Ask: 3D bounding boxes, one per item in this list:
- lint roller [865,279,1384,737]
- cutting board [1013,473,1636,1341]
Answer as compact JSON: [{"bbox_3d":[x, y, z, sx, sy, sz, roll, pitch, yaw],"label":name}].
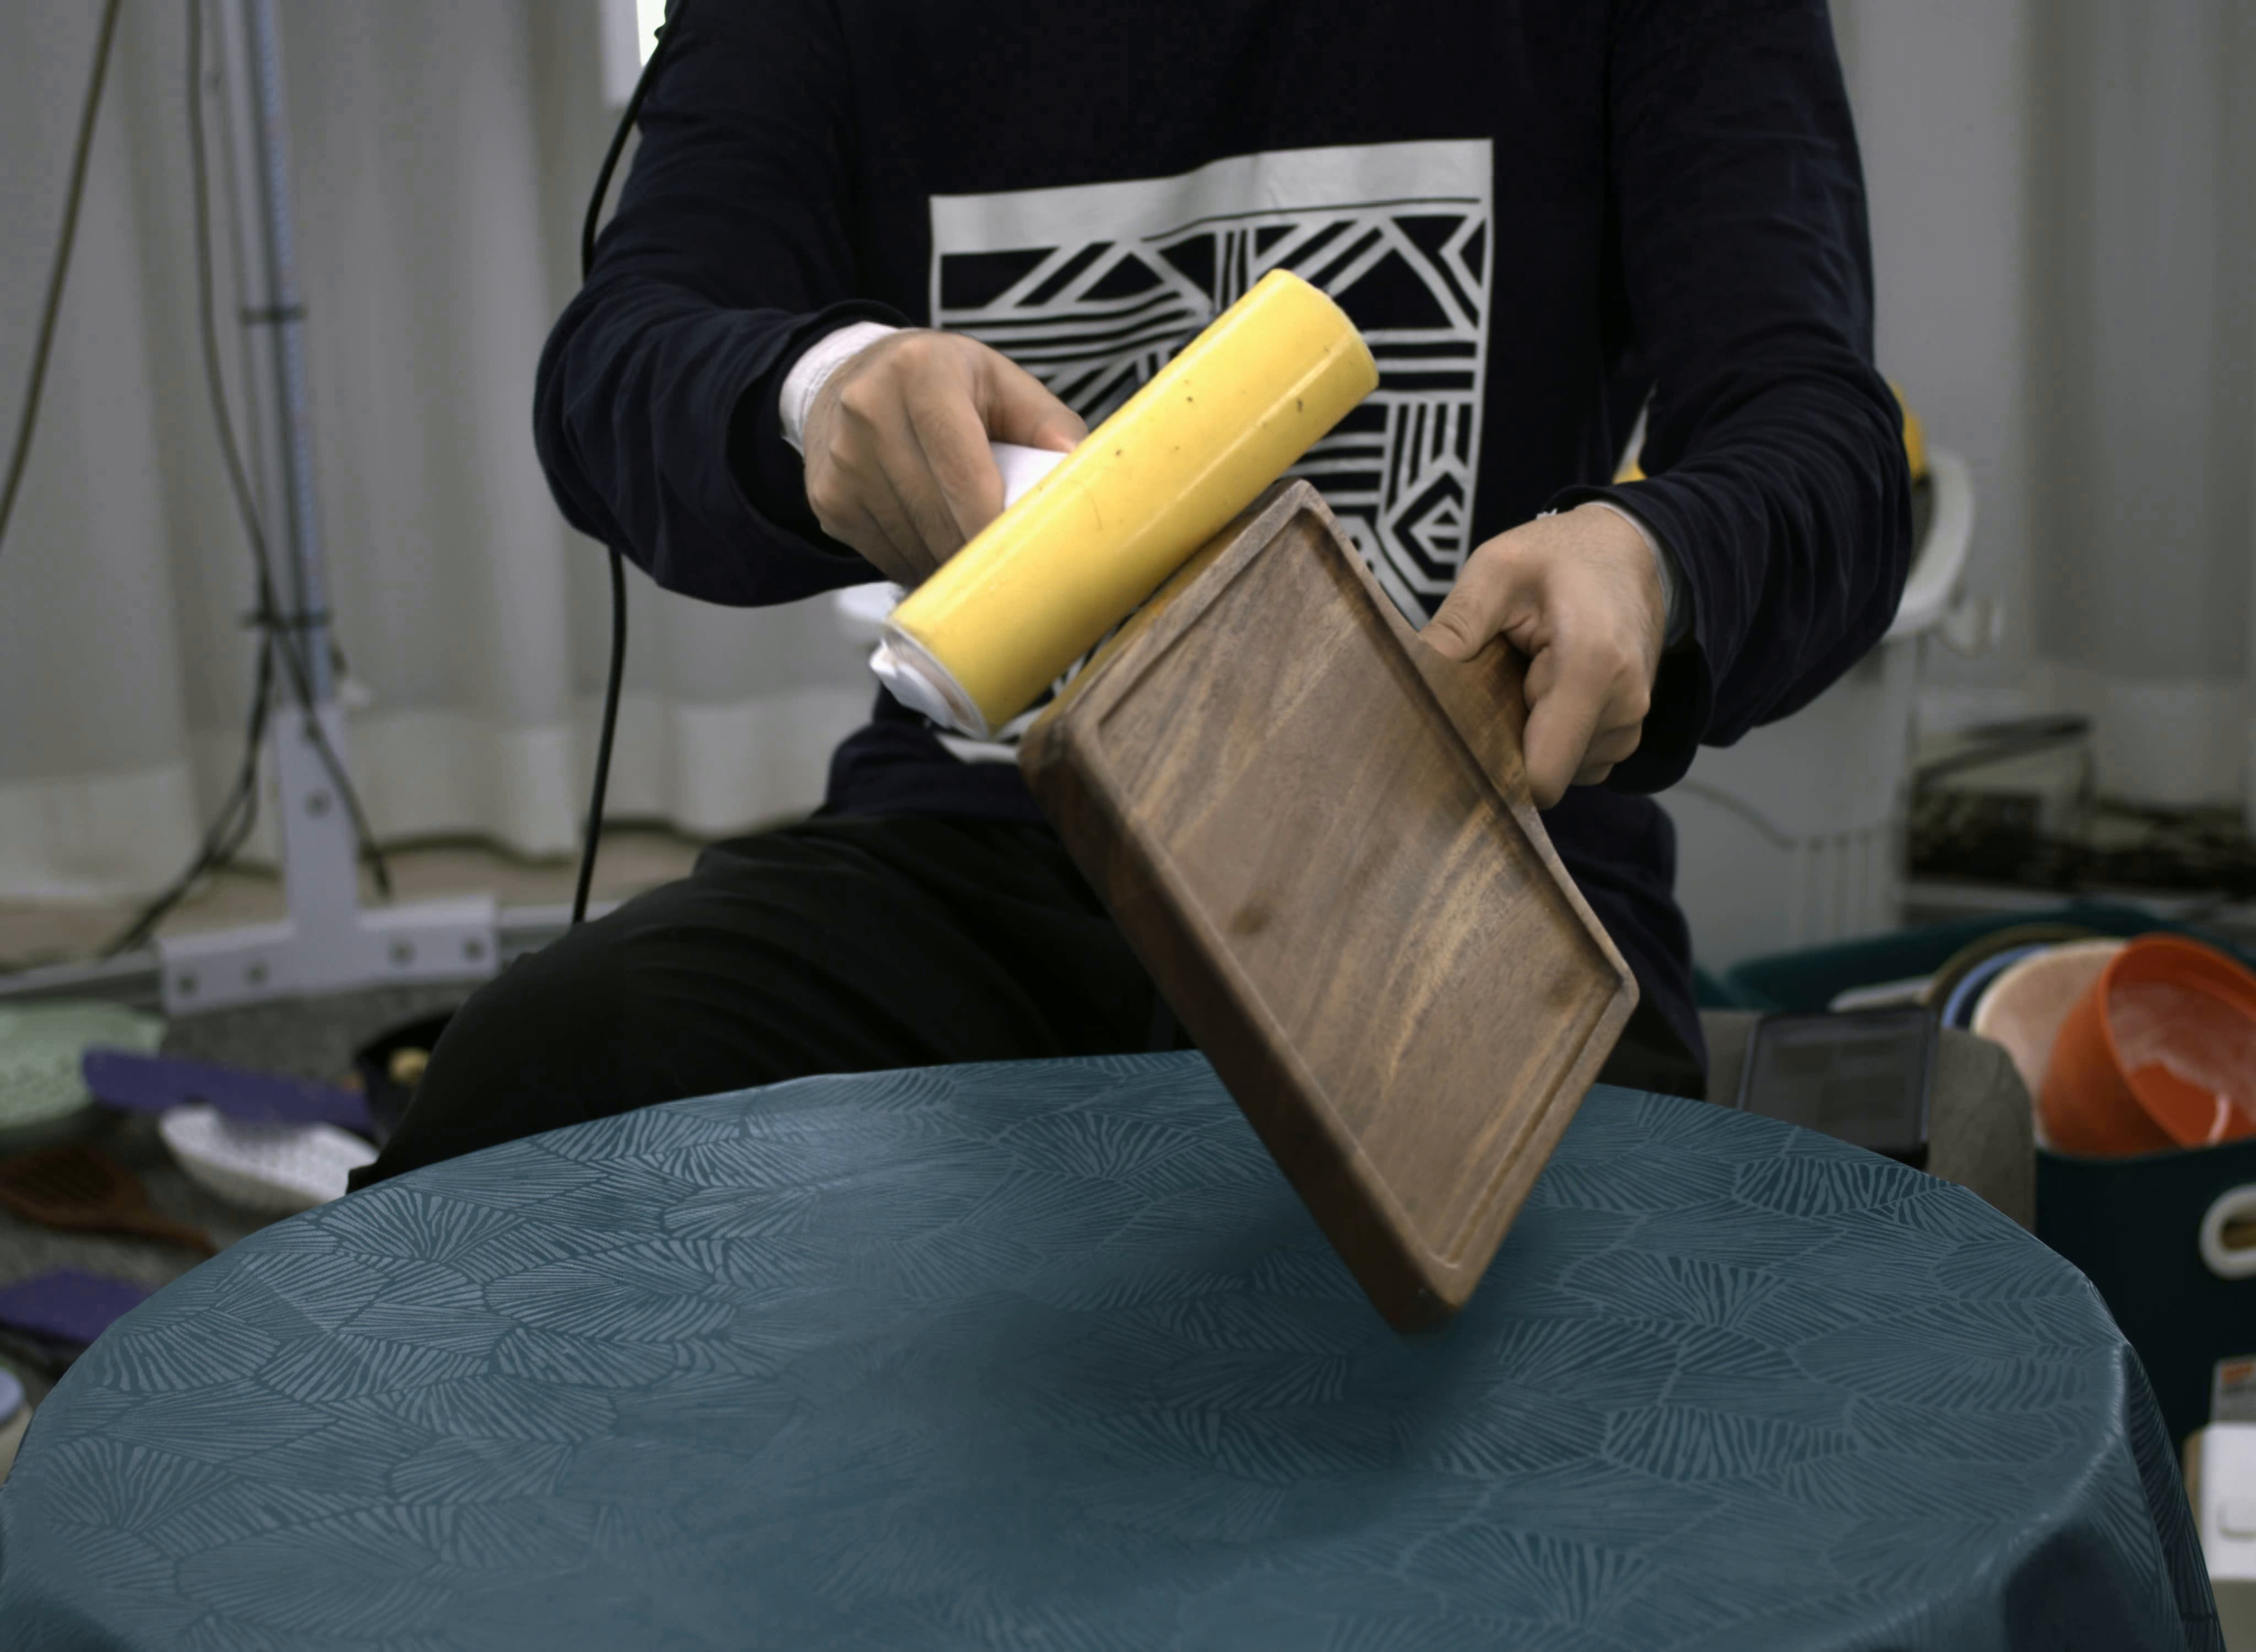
[{"bbox_3d":[-0.034,-0.110,1.671,0.175,0.051,0.193,-41,31,-16],"label":"lint roller"},{"bbox_3d":[0.077,0.000,1.608,0.023,0.201,0.354,-31,7,24],"label":"cutting board"}]
